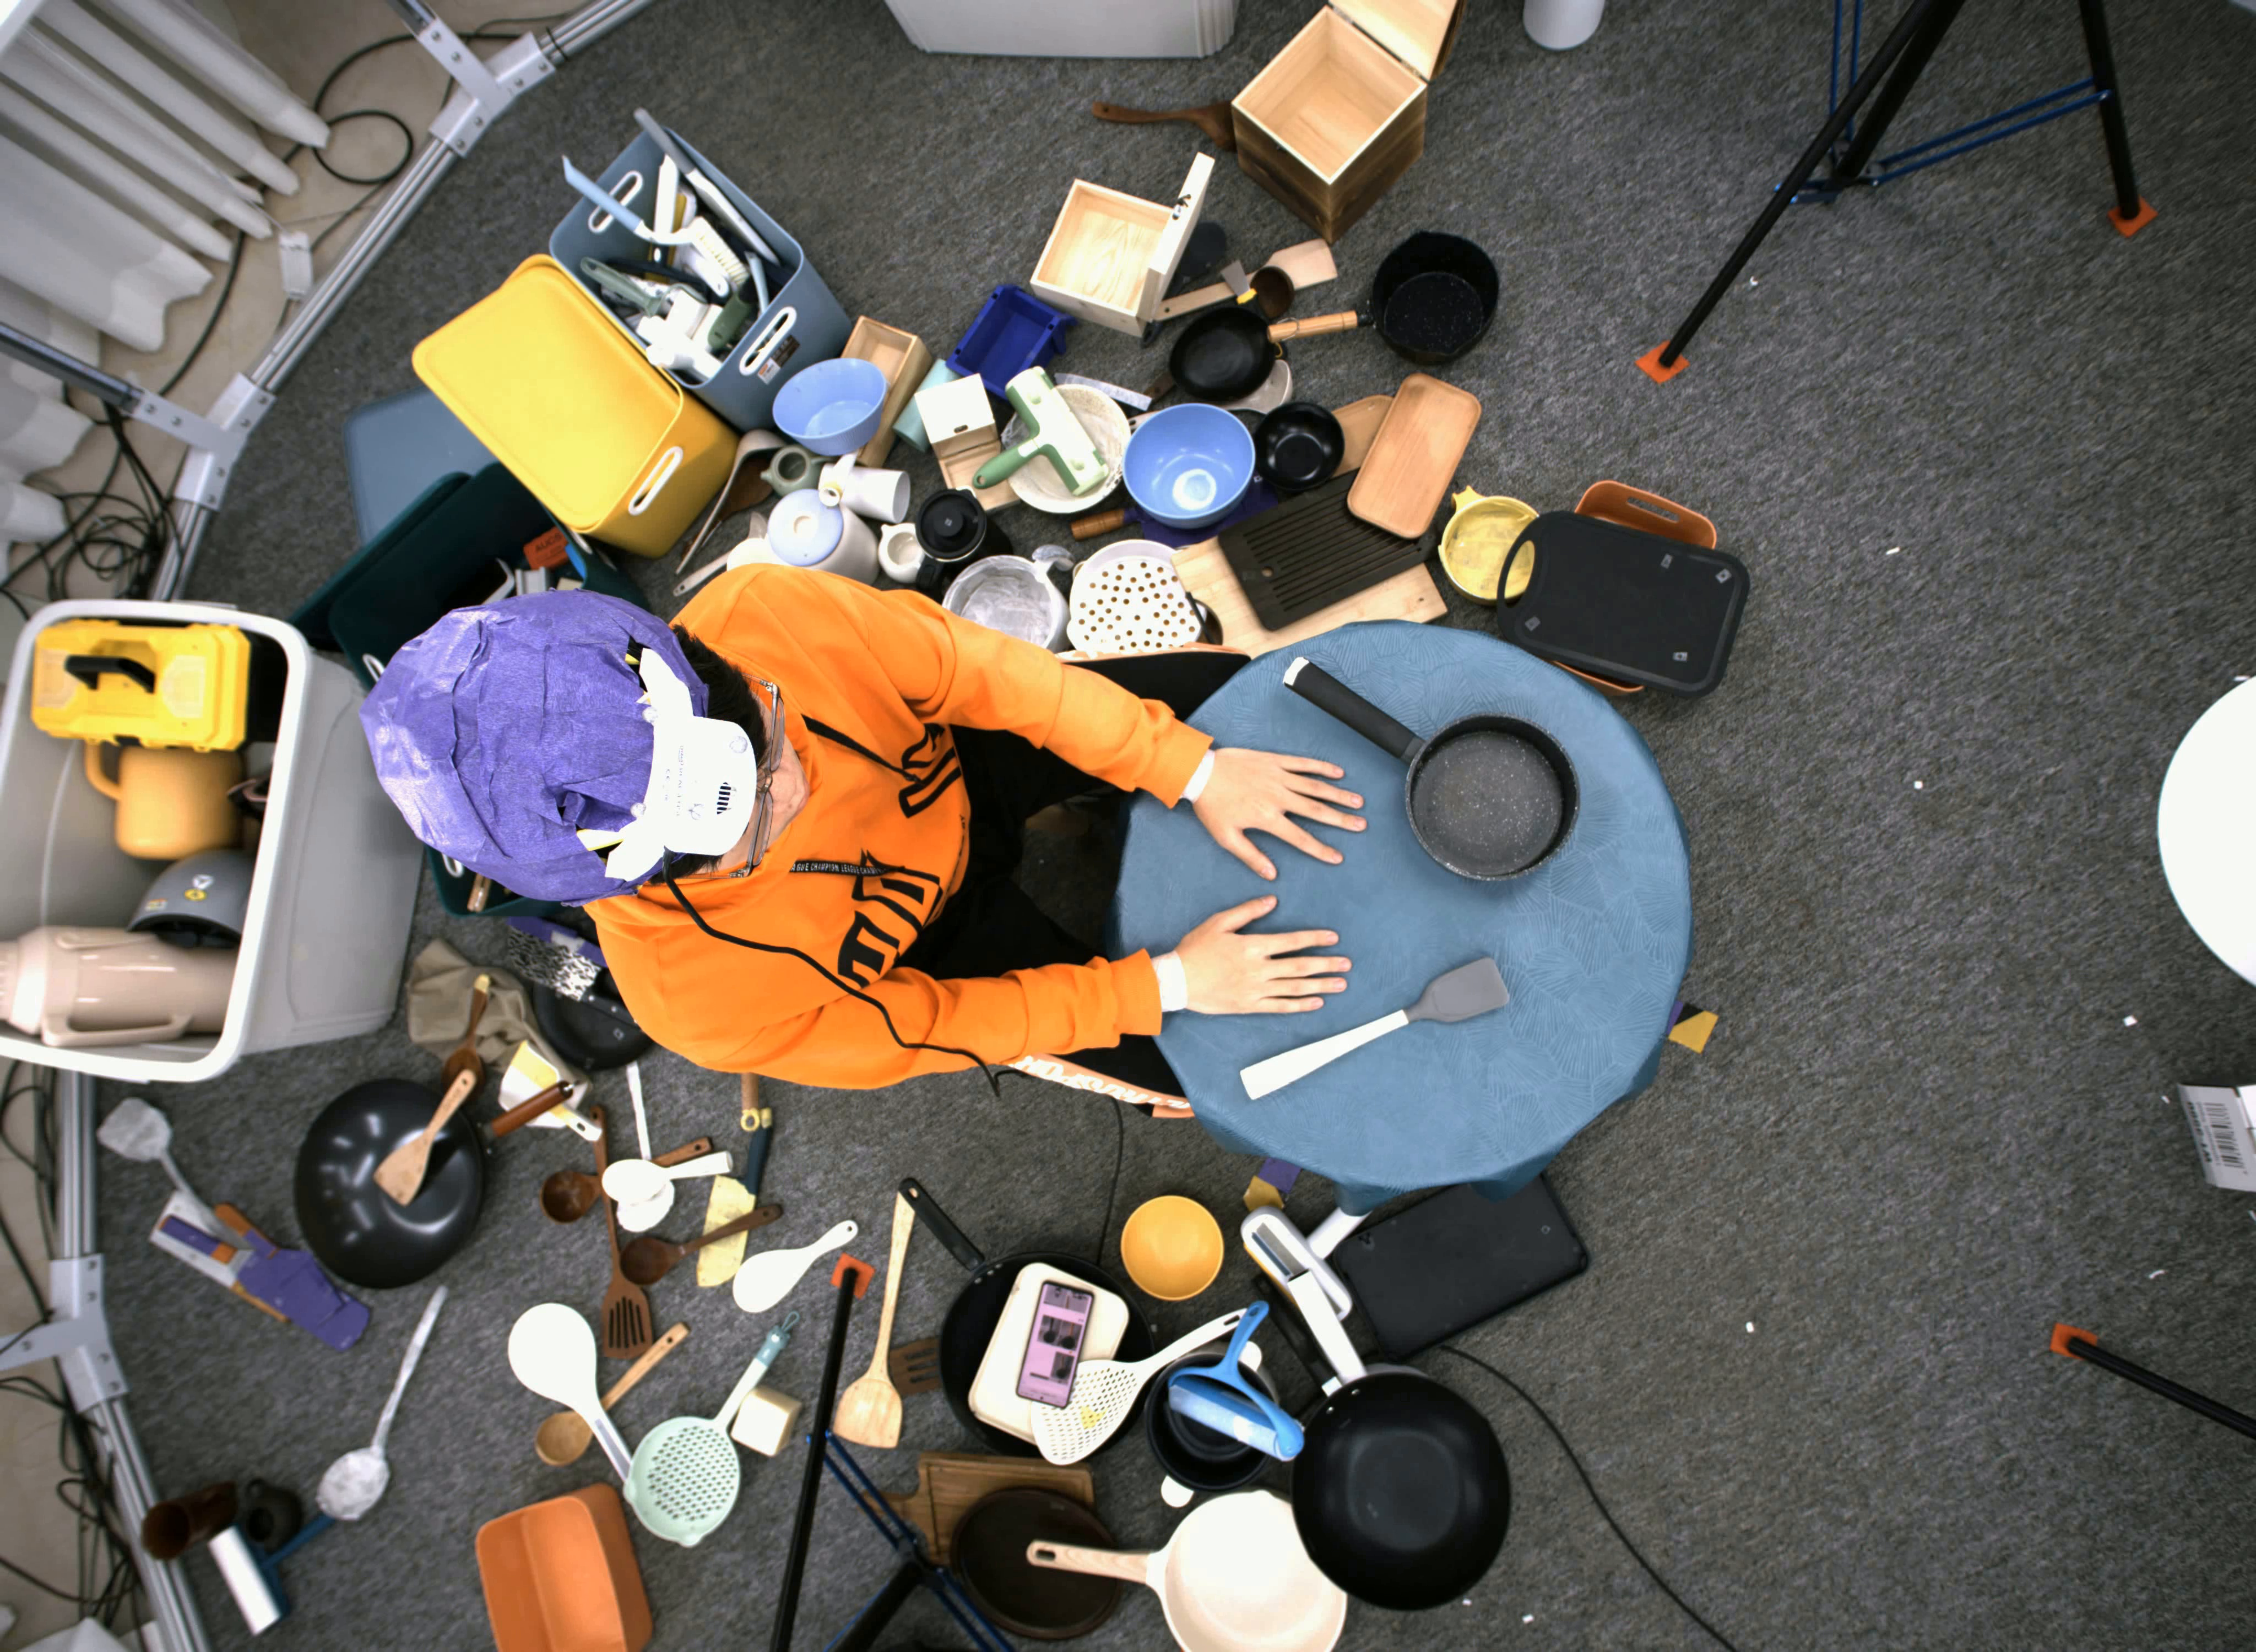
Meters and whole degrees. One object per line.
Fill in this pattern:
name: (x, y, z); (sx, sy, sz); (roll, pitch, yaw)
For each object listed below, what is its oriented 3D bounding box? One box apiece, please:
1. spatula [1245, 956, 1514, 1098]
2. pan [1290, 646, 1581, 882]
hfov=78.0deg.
spatula: (0.258, 0.212, 1.438); (0.289, 0.032, 0.058); (-24, 77, 9)
pan: (0.307, -0.074, 1.418); (0.328, 0.086, 0.172); (36, 92, 9)
